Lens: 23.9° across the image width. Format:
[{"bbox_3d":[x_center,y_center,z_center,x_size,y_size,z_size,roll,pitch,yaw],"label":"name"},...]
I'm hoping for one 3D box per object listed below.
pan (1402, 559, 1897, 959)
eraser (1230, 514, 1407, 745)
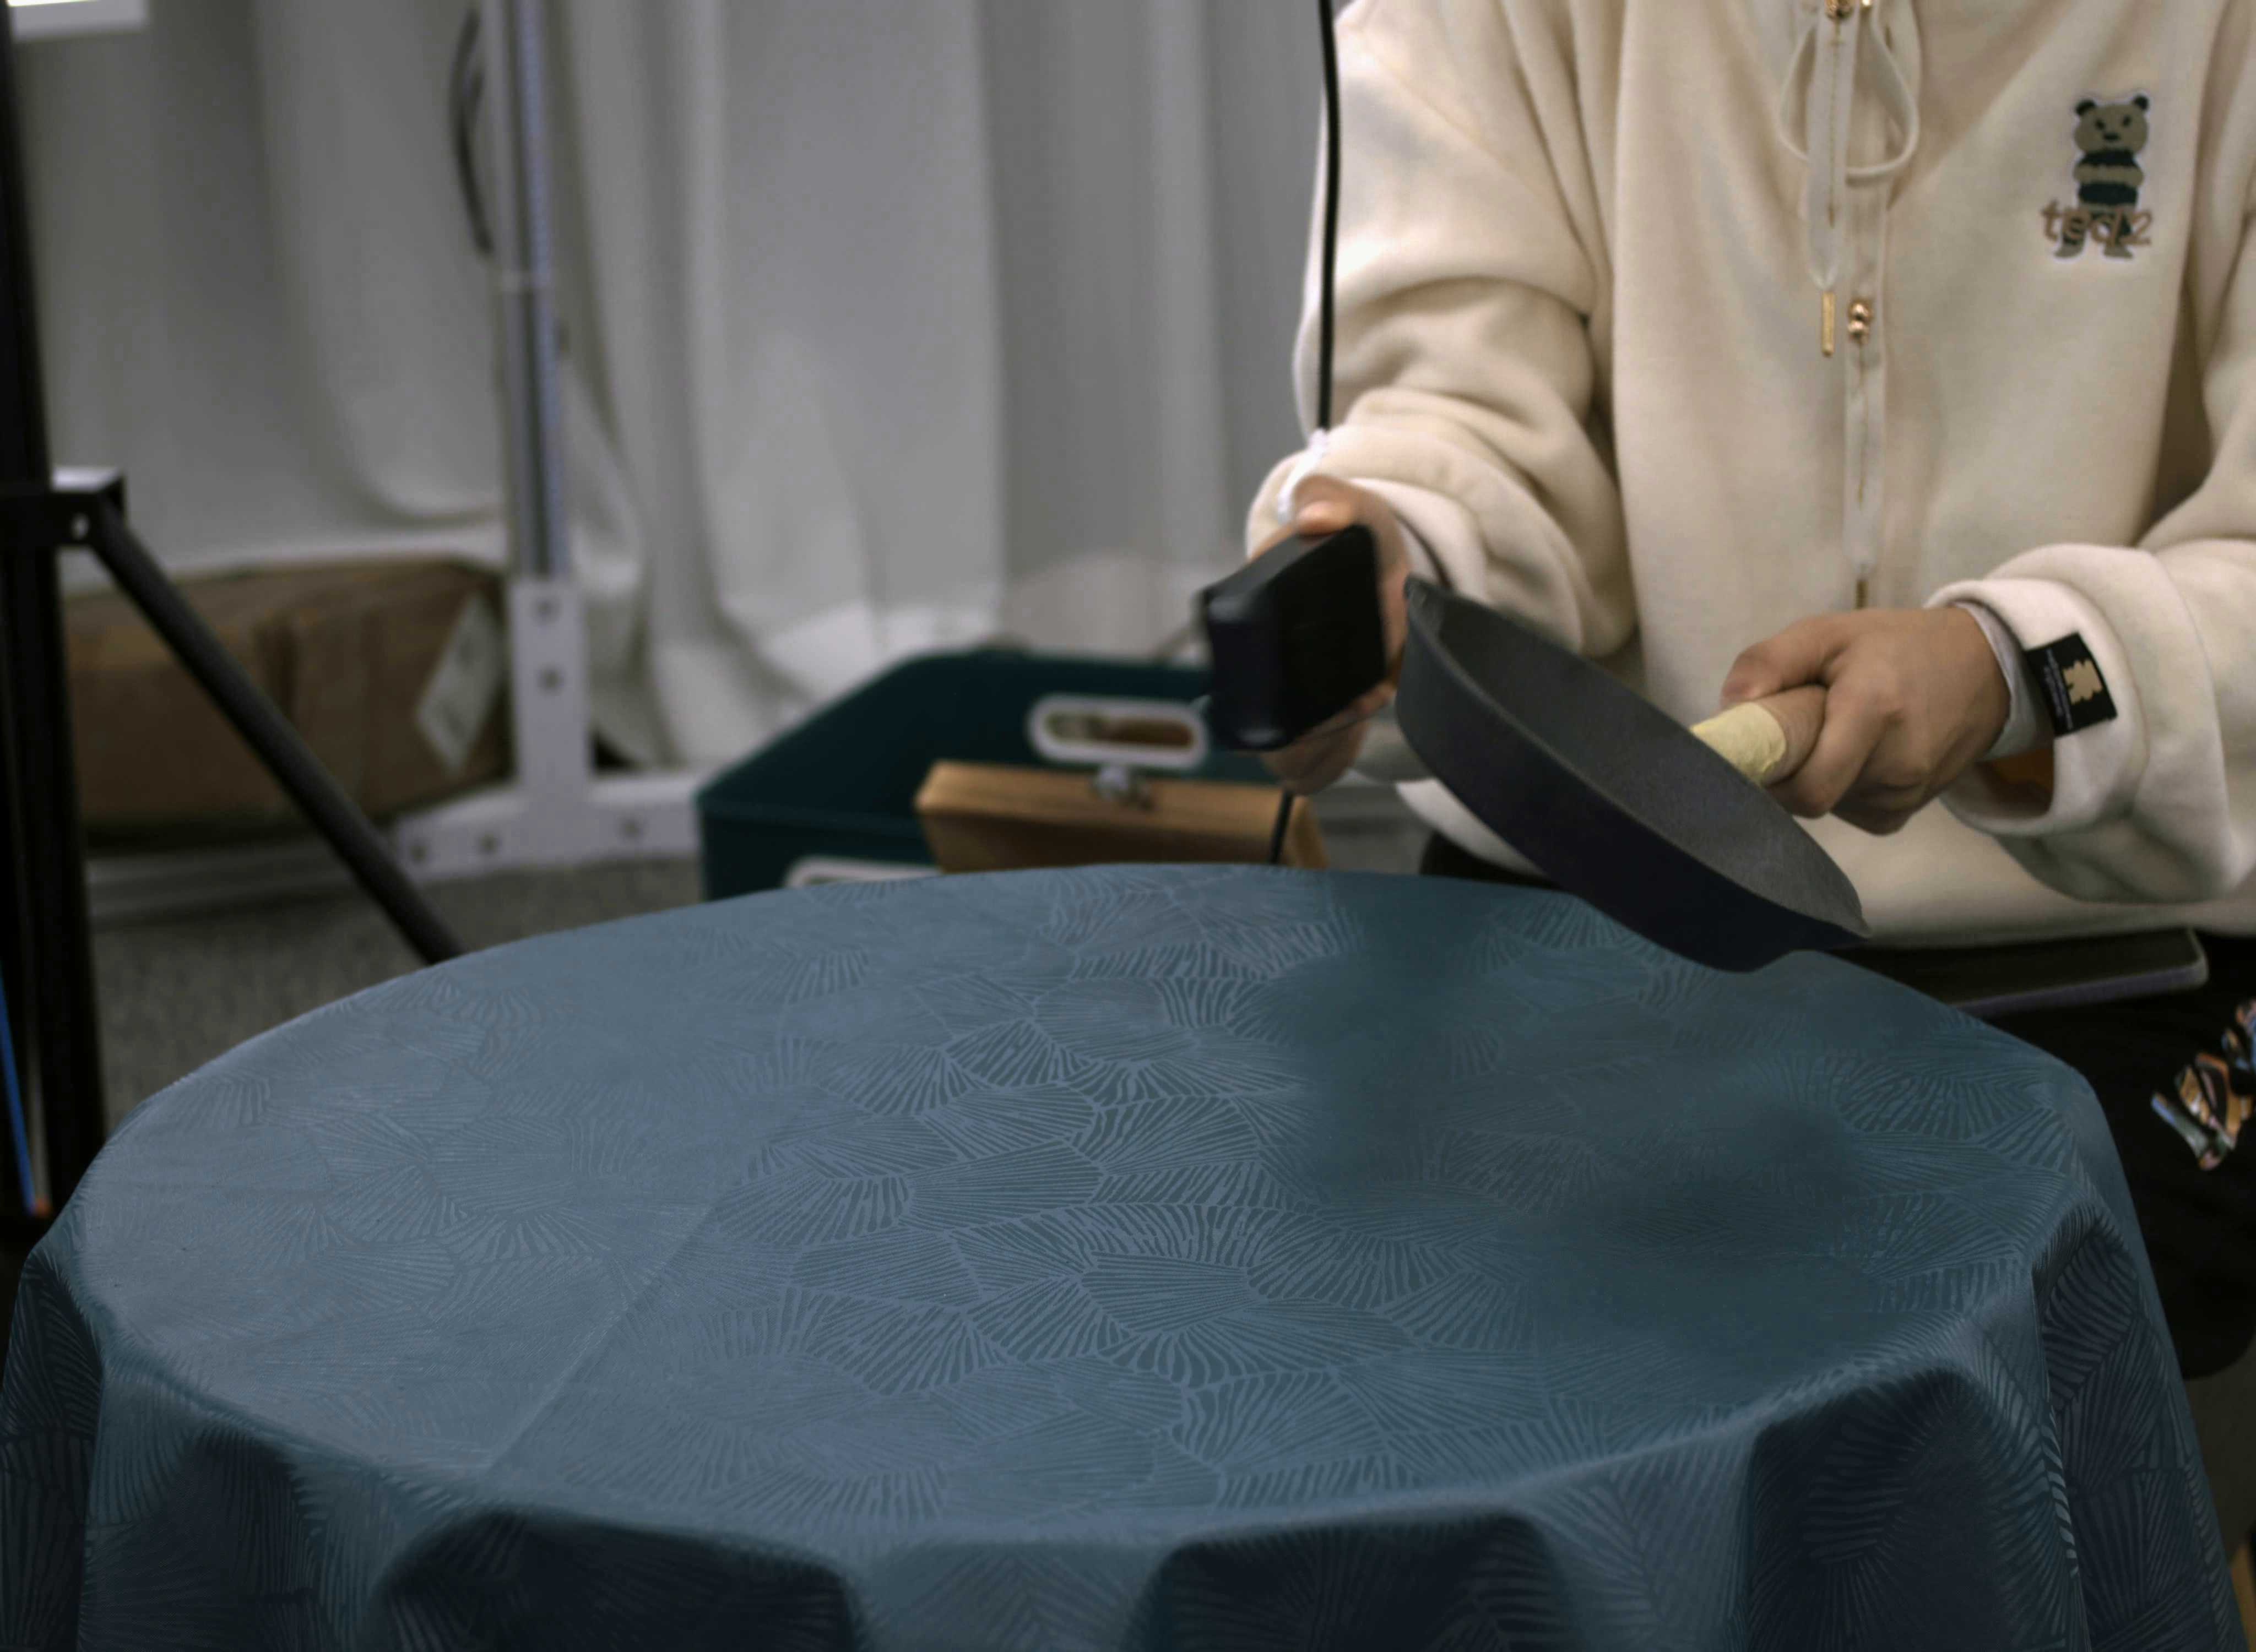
[{"bbox_3d":[0.173,-0.020,1.583,0.171,0.050,0.318,40,15,17],"label":"pan"},{"bbox_3d":[0.060,-0.062,1.653,0.031,0.053,0.124,-4,10,15],"label":"eraser"}]
